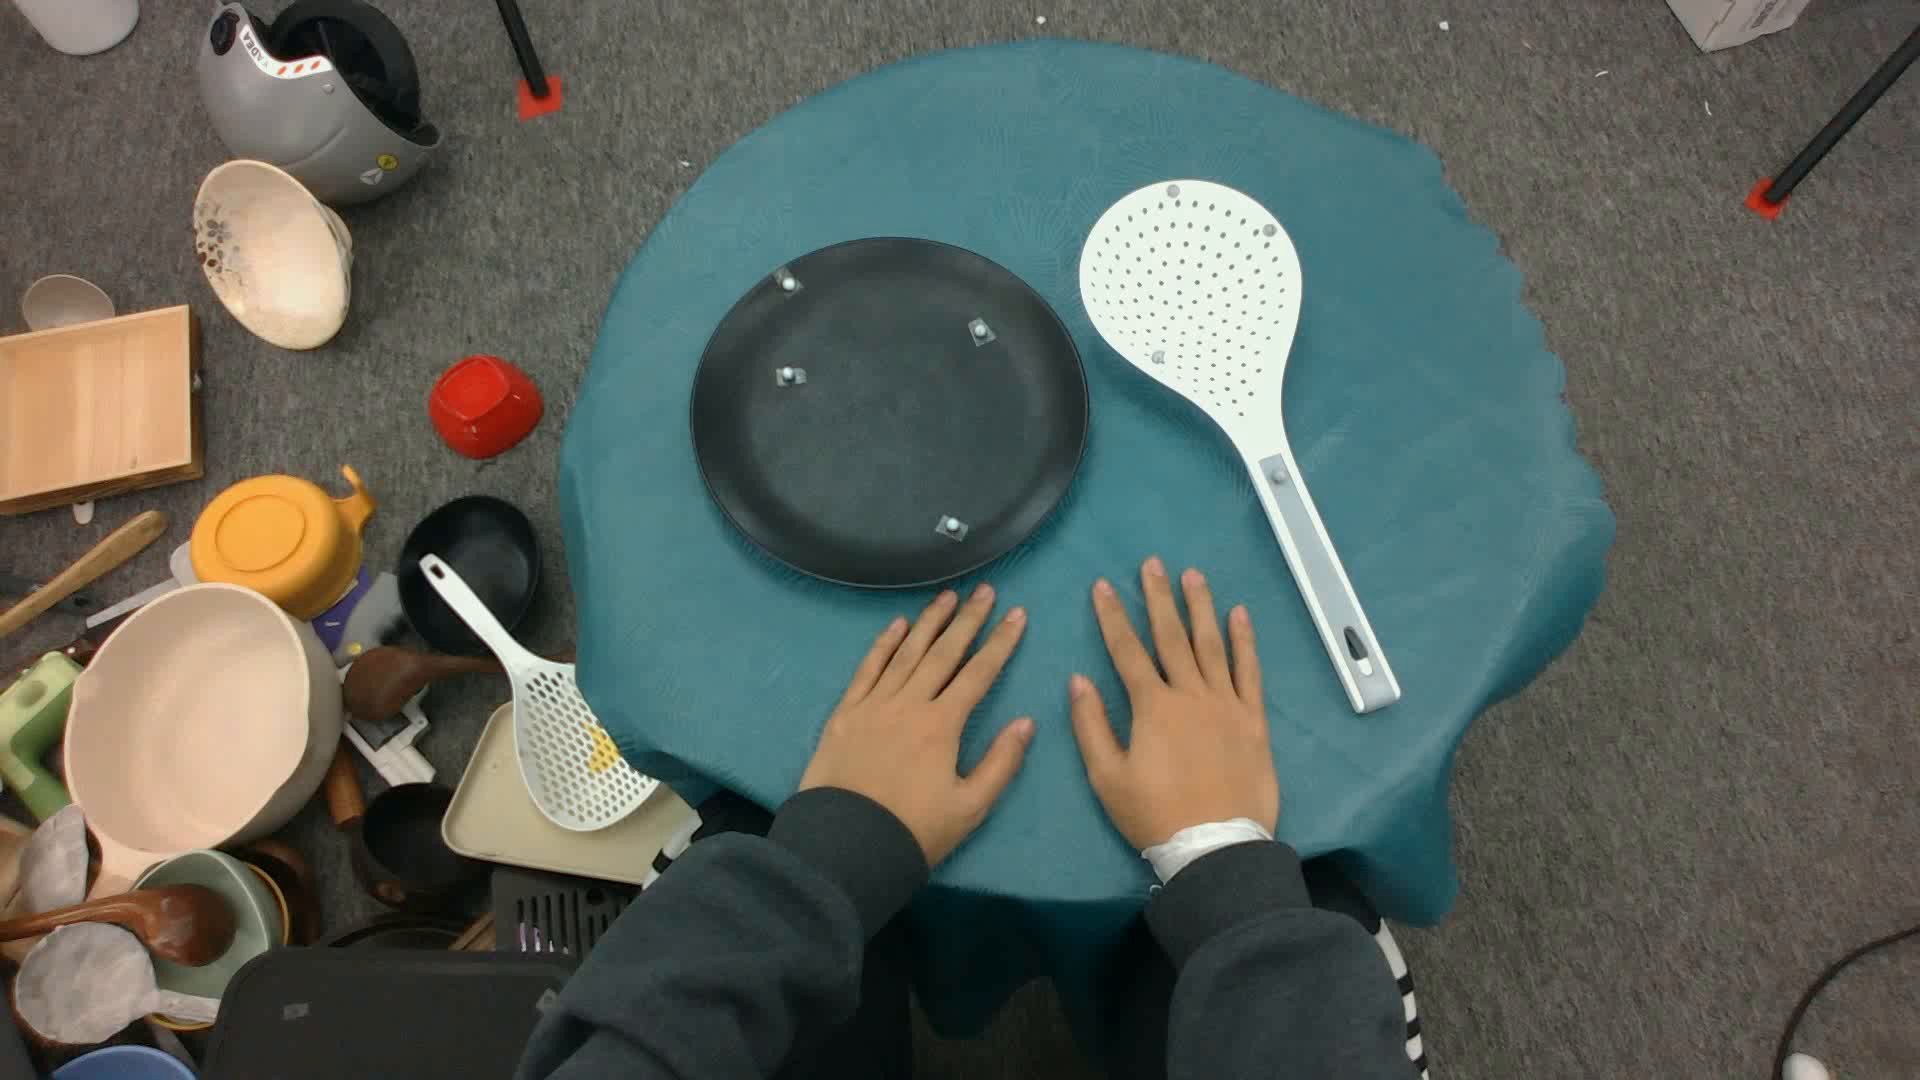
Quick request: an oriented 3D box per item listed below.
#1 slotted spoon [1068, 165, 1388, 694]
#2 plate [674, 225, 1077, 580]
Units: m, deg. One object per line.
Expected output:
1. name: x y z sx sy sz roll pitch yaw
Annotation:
1. slotted spoon: 0.171 -0.073 0.827 0.136 0.045 0.350 -19 69 -7
2. plate: -0.051 -0.087 0.841 0.244 0.023 0.245 0 66 -1
